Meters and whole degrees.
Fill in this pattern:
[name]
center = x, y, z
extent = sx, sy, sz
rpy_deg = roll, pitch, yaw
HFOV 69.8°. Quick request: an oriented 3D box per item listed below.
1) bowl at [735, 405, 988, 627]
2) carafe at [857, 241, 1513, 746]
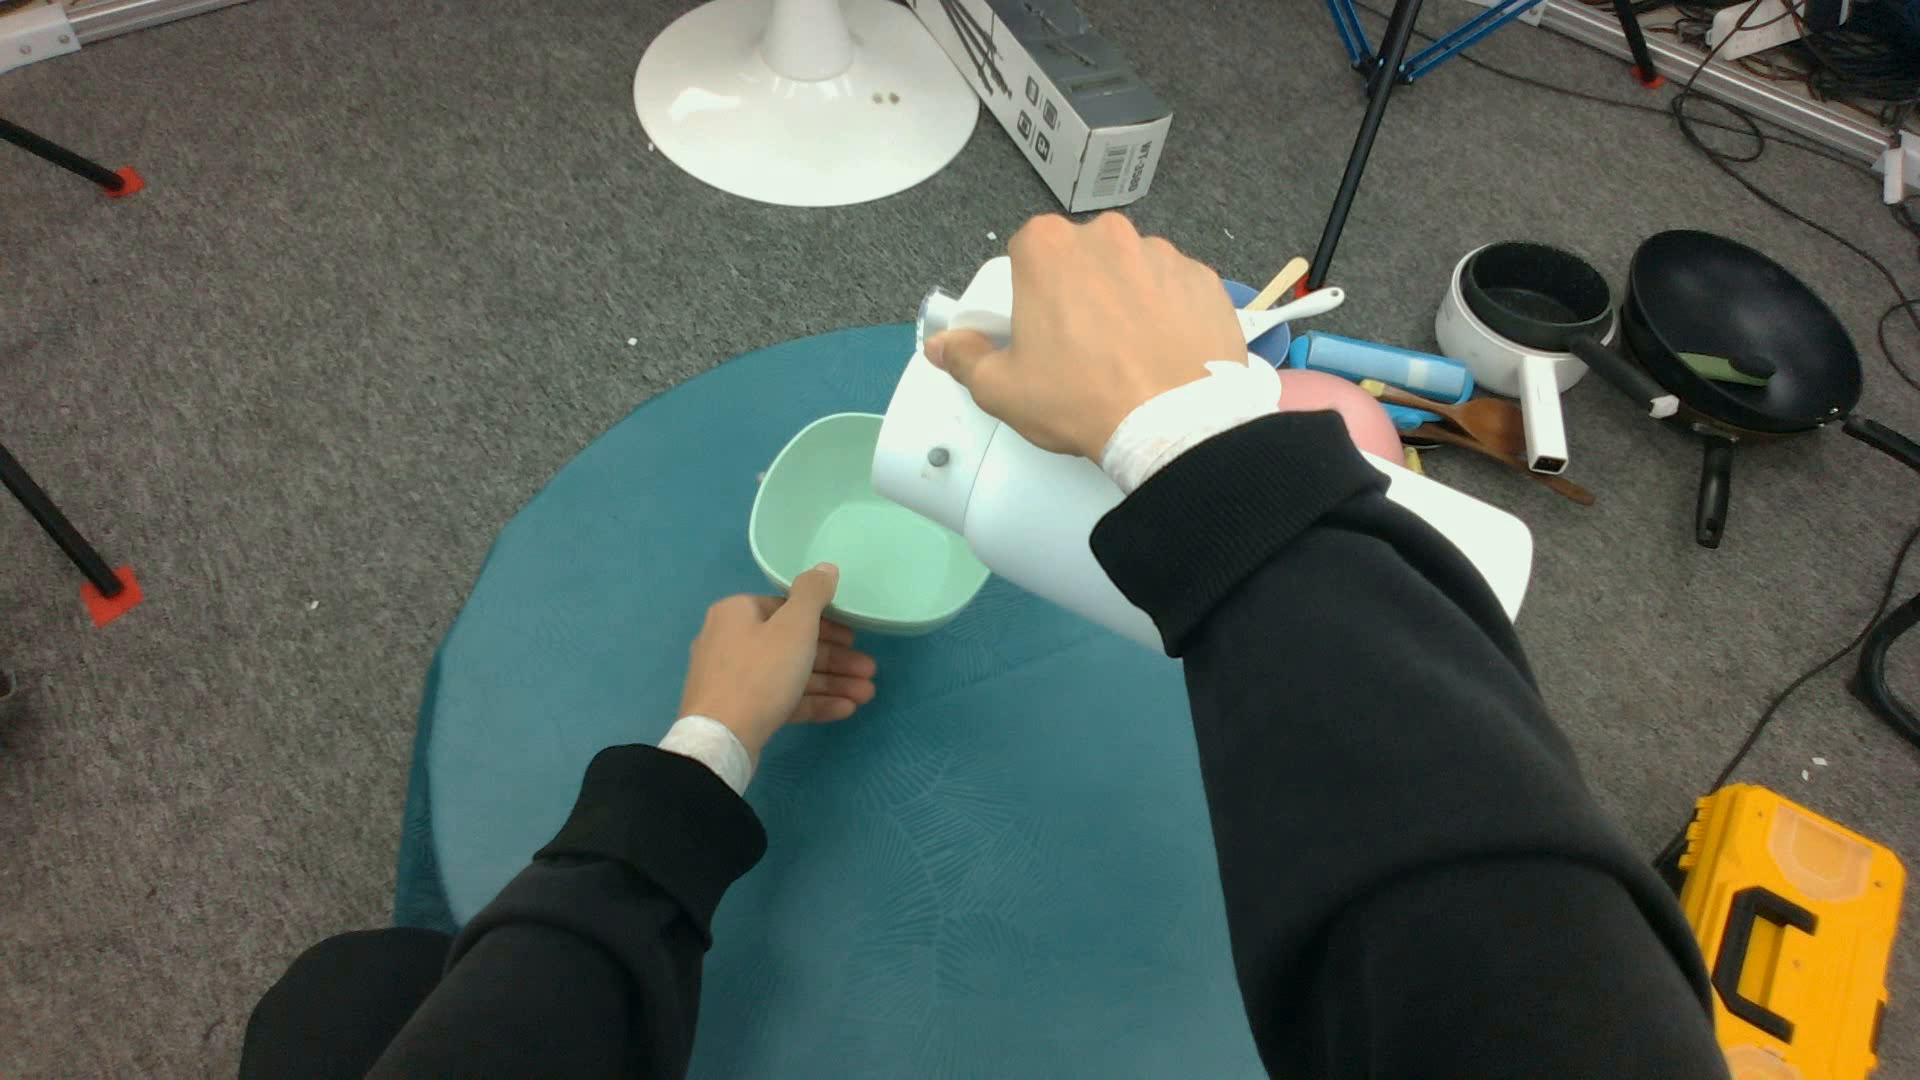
[bowl]
center = -0.054, -0.004, 0.783
extent = 0.151, 0.058, 0.152
rpy_deg = 4, 53, -5
[carafe]
center = 0.096, -0.026, 0.596
extent = 0.269, 0.172, 0.124
rpy_deg = 27, 60, 10
